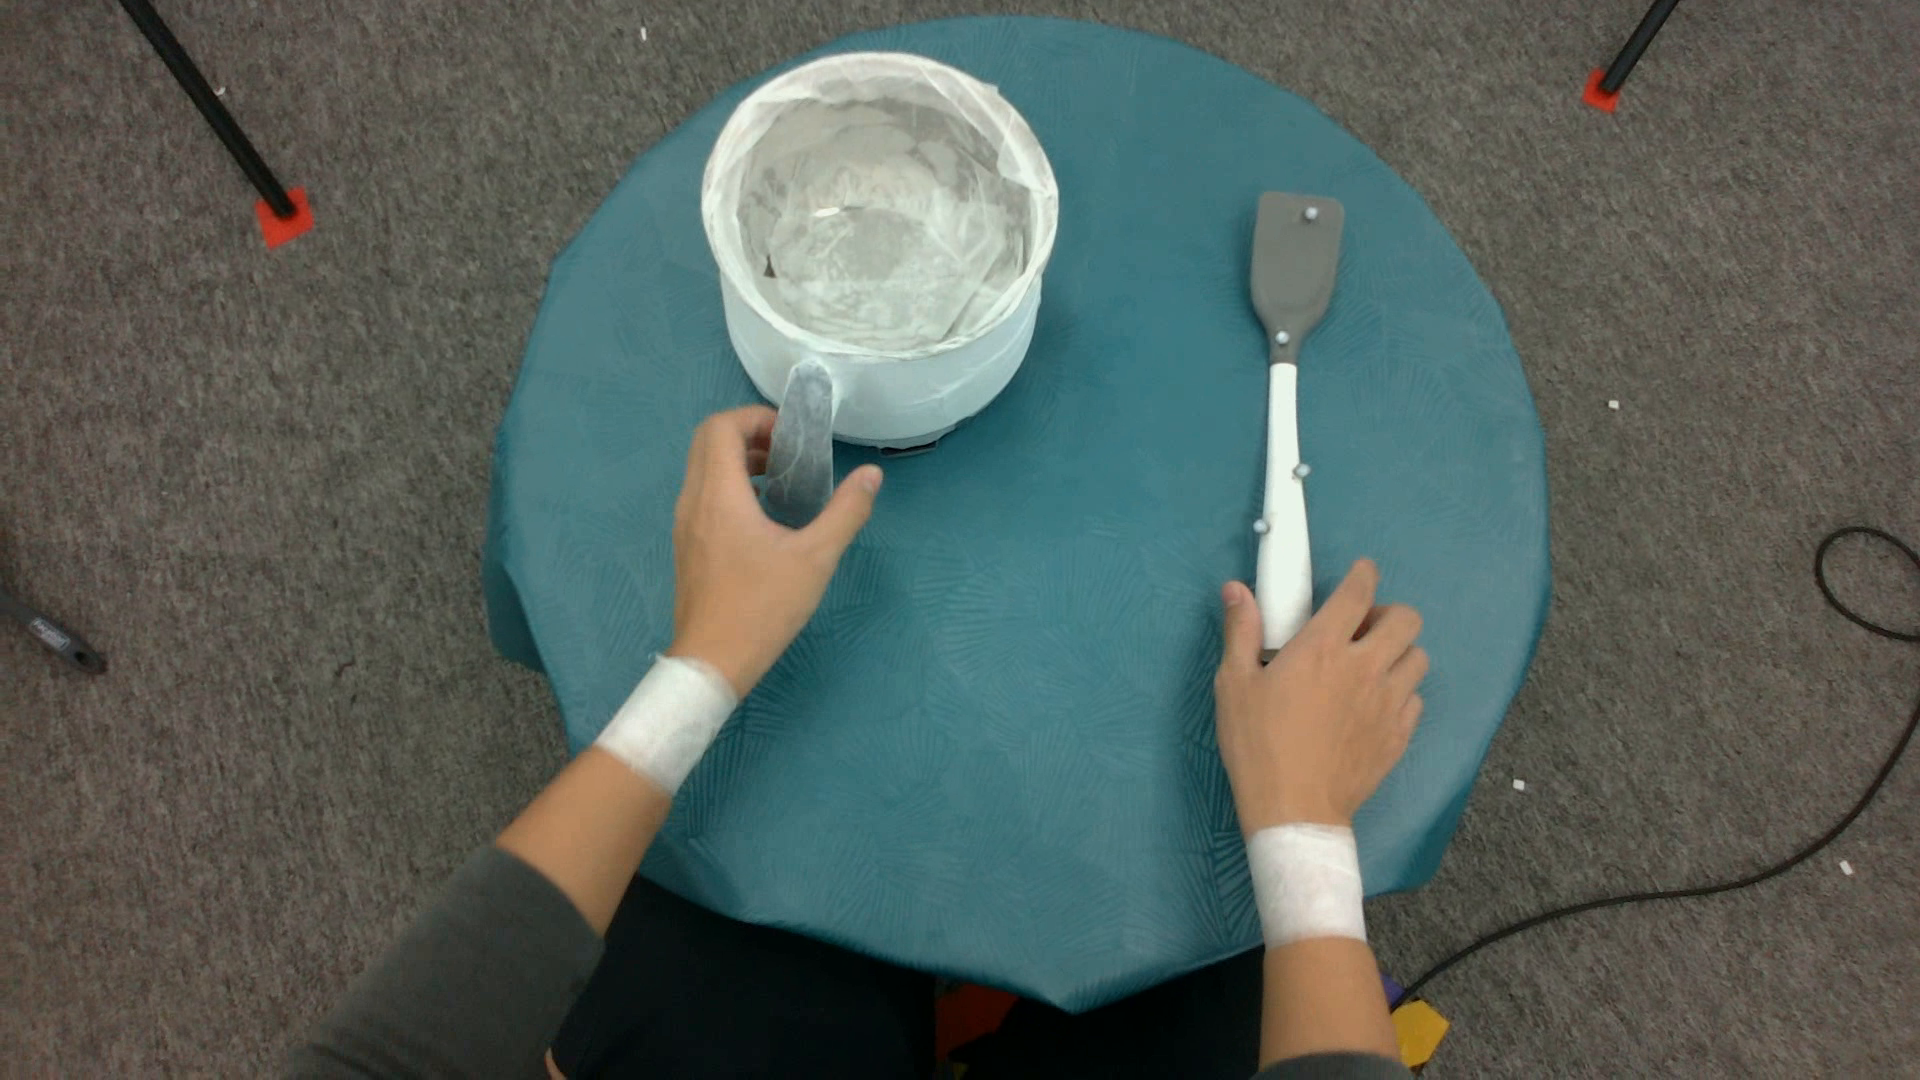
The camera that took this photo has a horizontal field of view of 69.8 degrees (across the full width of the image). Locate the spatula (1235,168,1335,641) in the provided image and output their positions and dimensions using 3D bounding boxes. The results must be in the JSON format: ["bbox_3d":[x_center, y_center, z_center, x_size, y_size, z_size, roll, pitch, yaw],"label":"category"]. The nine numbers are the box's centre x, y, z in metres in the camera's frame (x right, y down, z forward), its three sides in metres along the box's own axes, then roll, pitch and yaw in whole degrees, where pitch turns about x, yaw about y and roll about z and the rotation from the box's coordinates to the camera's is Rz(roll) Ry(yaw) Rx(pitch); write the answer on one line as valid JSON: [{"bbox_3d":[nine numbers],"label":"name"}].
[{"bbox_3d":[0.182,-0.084,0.794,0.058,0.032,0.288,6,72,1],"label":"spatula"}]

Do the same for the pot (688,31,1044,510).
[{"bbox_3d":[-0.059,-0.135,0.736,0.179,0.136,0.234,17,71,2],"label":"pot"}]
